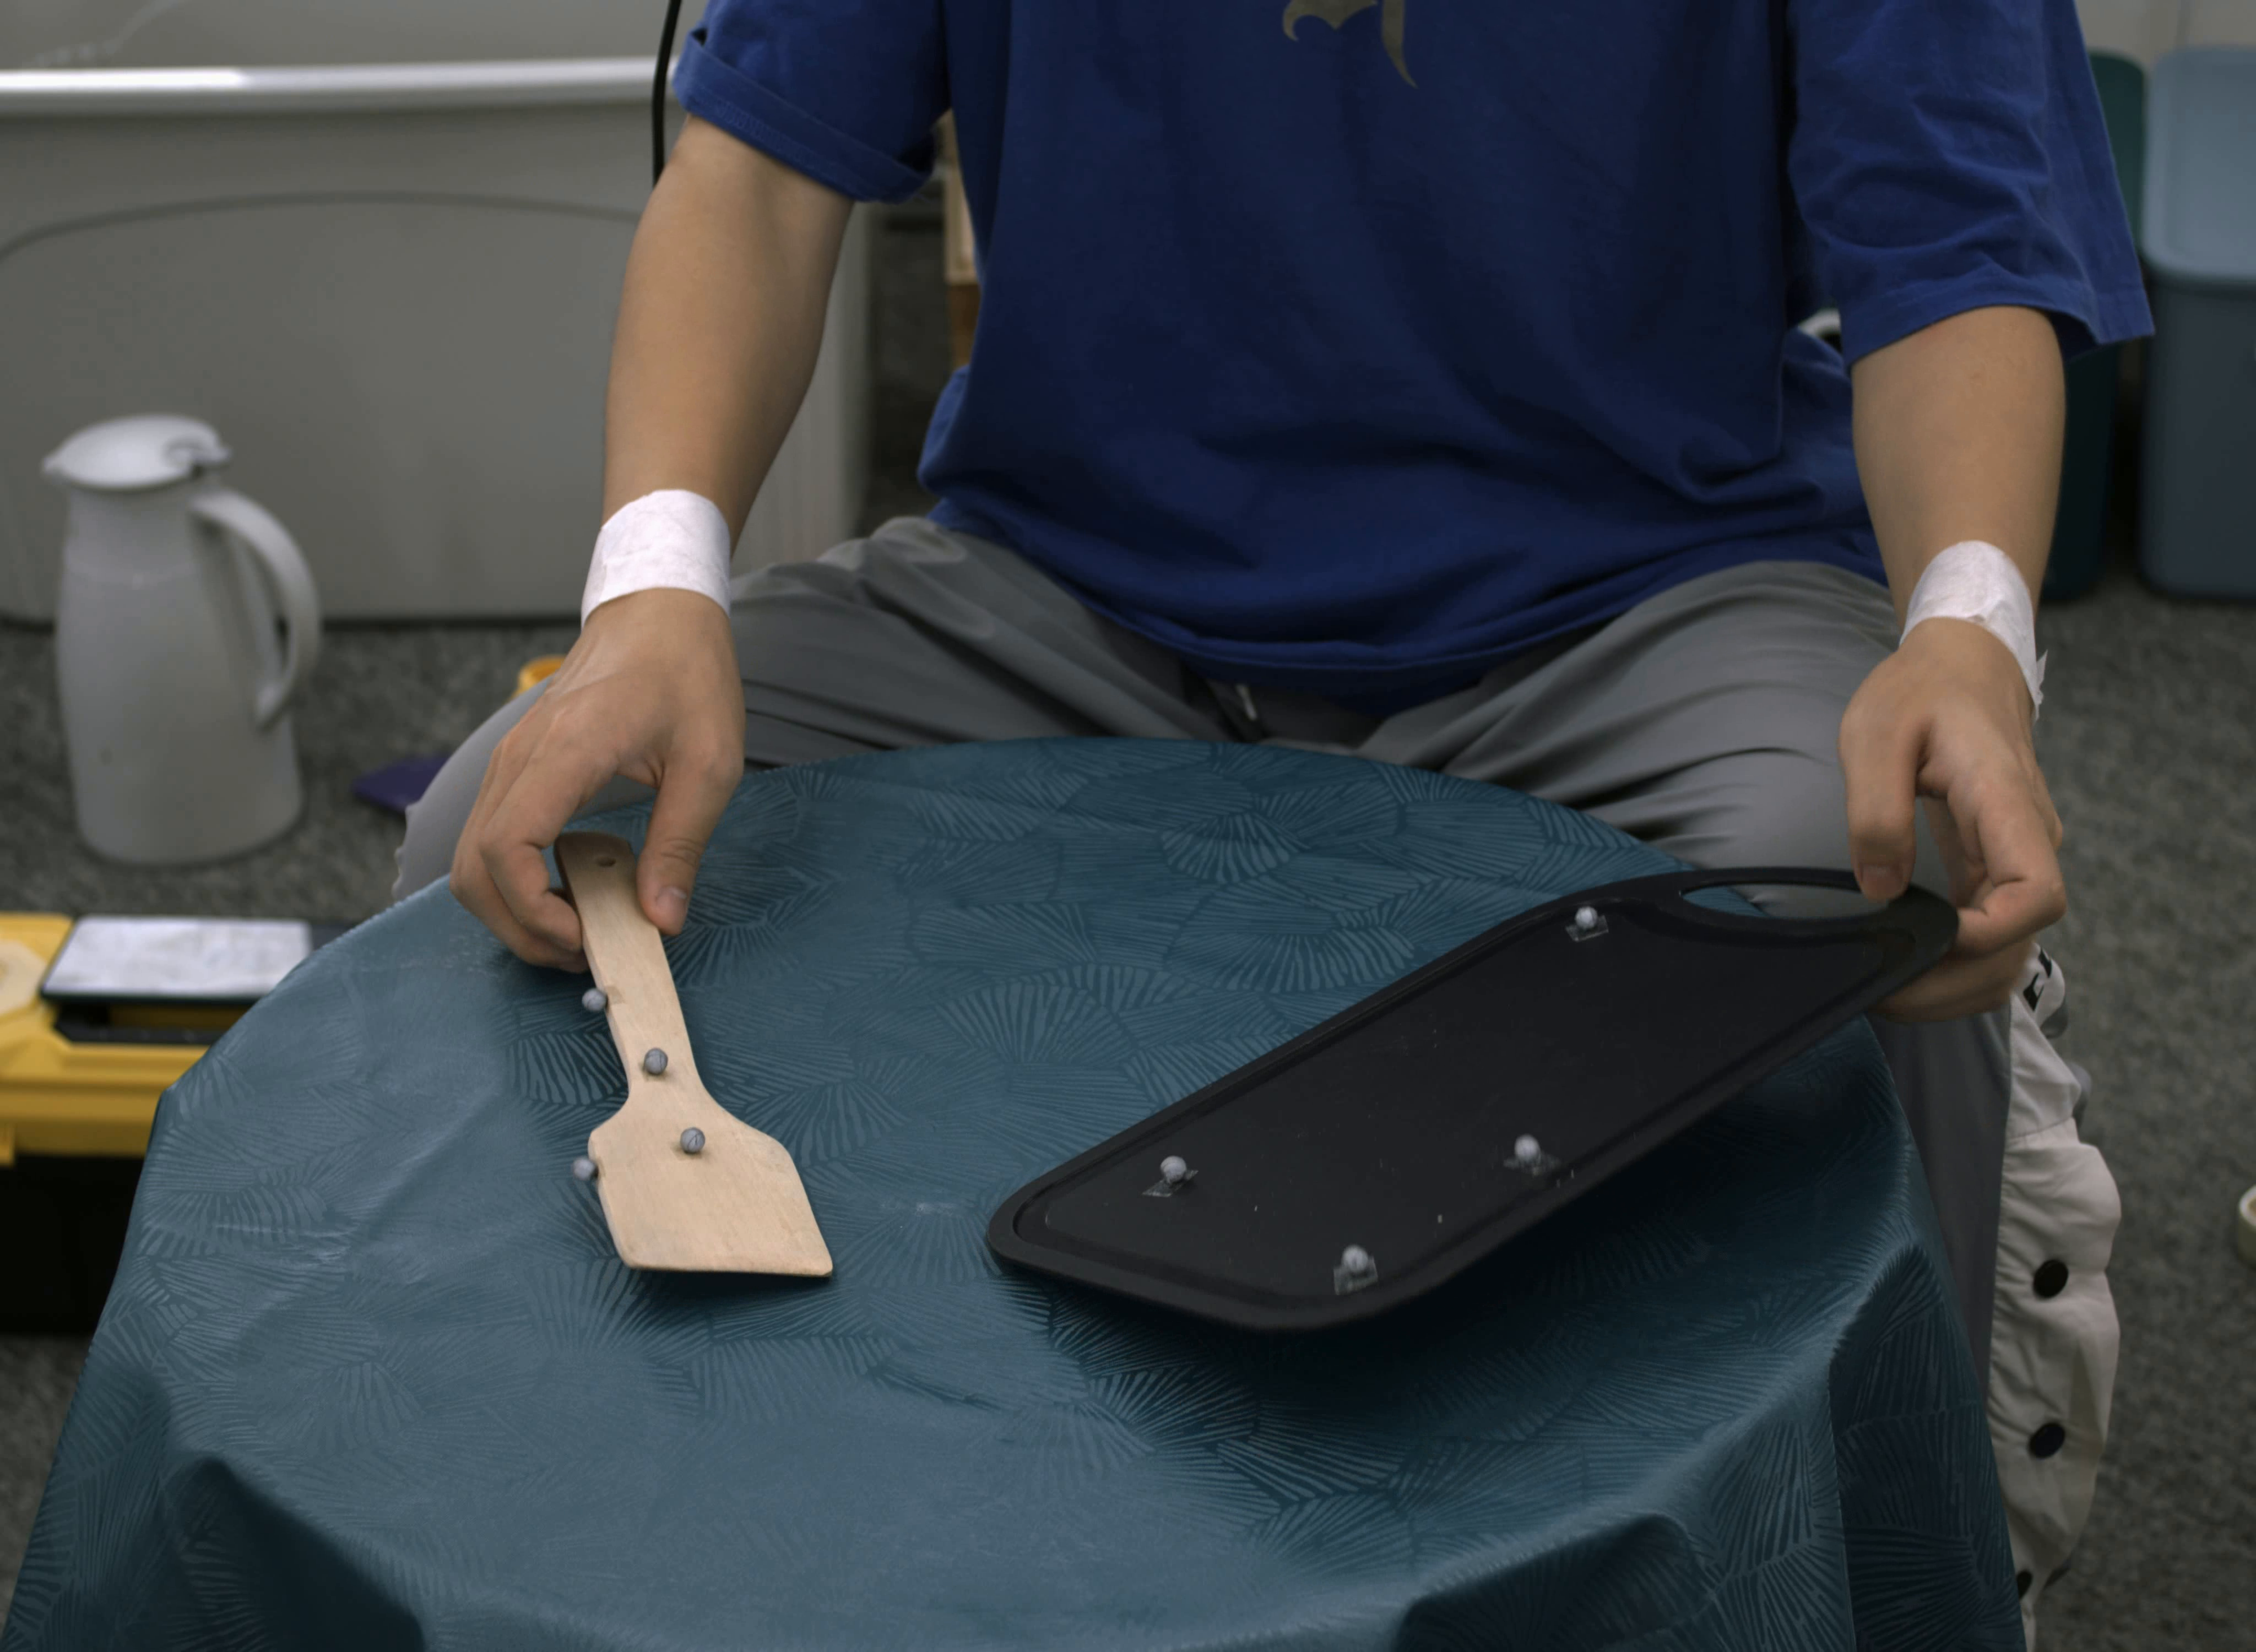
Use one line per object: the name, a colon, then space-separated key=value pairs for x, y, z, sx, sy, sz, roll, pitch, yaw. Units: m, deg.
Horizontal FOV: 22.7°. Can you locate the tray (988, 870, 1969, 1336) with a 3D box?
tray: x=0.120 y=0.081 z=1.847 sx=0.329 sy=0.010 sz=0.210 roll=-27 pitch=21 yaw=-31

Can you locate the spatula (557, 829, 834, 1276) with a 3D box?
spatula: x=-0.163 y=0.075 z=1.933 sx=0.072 sy=0.010 sz=0.296 roll=2 pitch=29 yaw=-17
